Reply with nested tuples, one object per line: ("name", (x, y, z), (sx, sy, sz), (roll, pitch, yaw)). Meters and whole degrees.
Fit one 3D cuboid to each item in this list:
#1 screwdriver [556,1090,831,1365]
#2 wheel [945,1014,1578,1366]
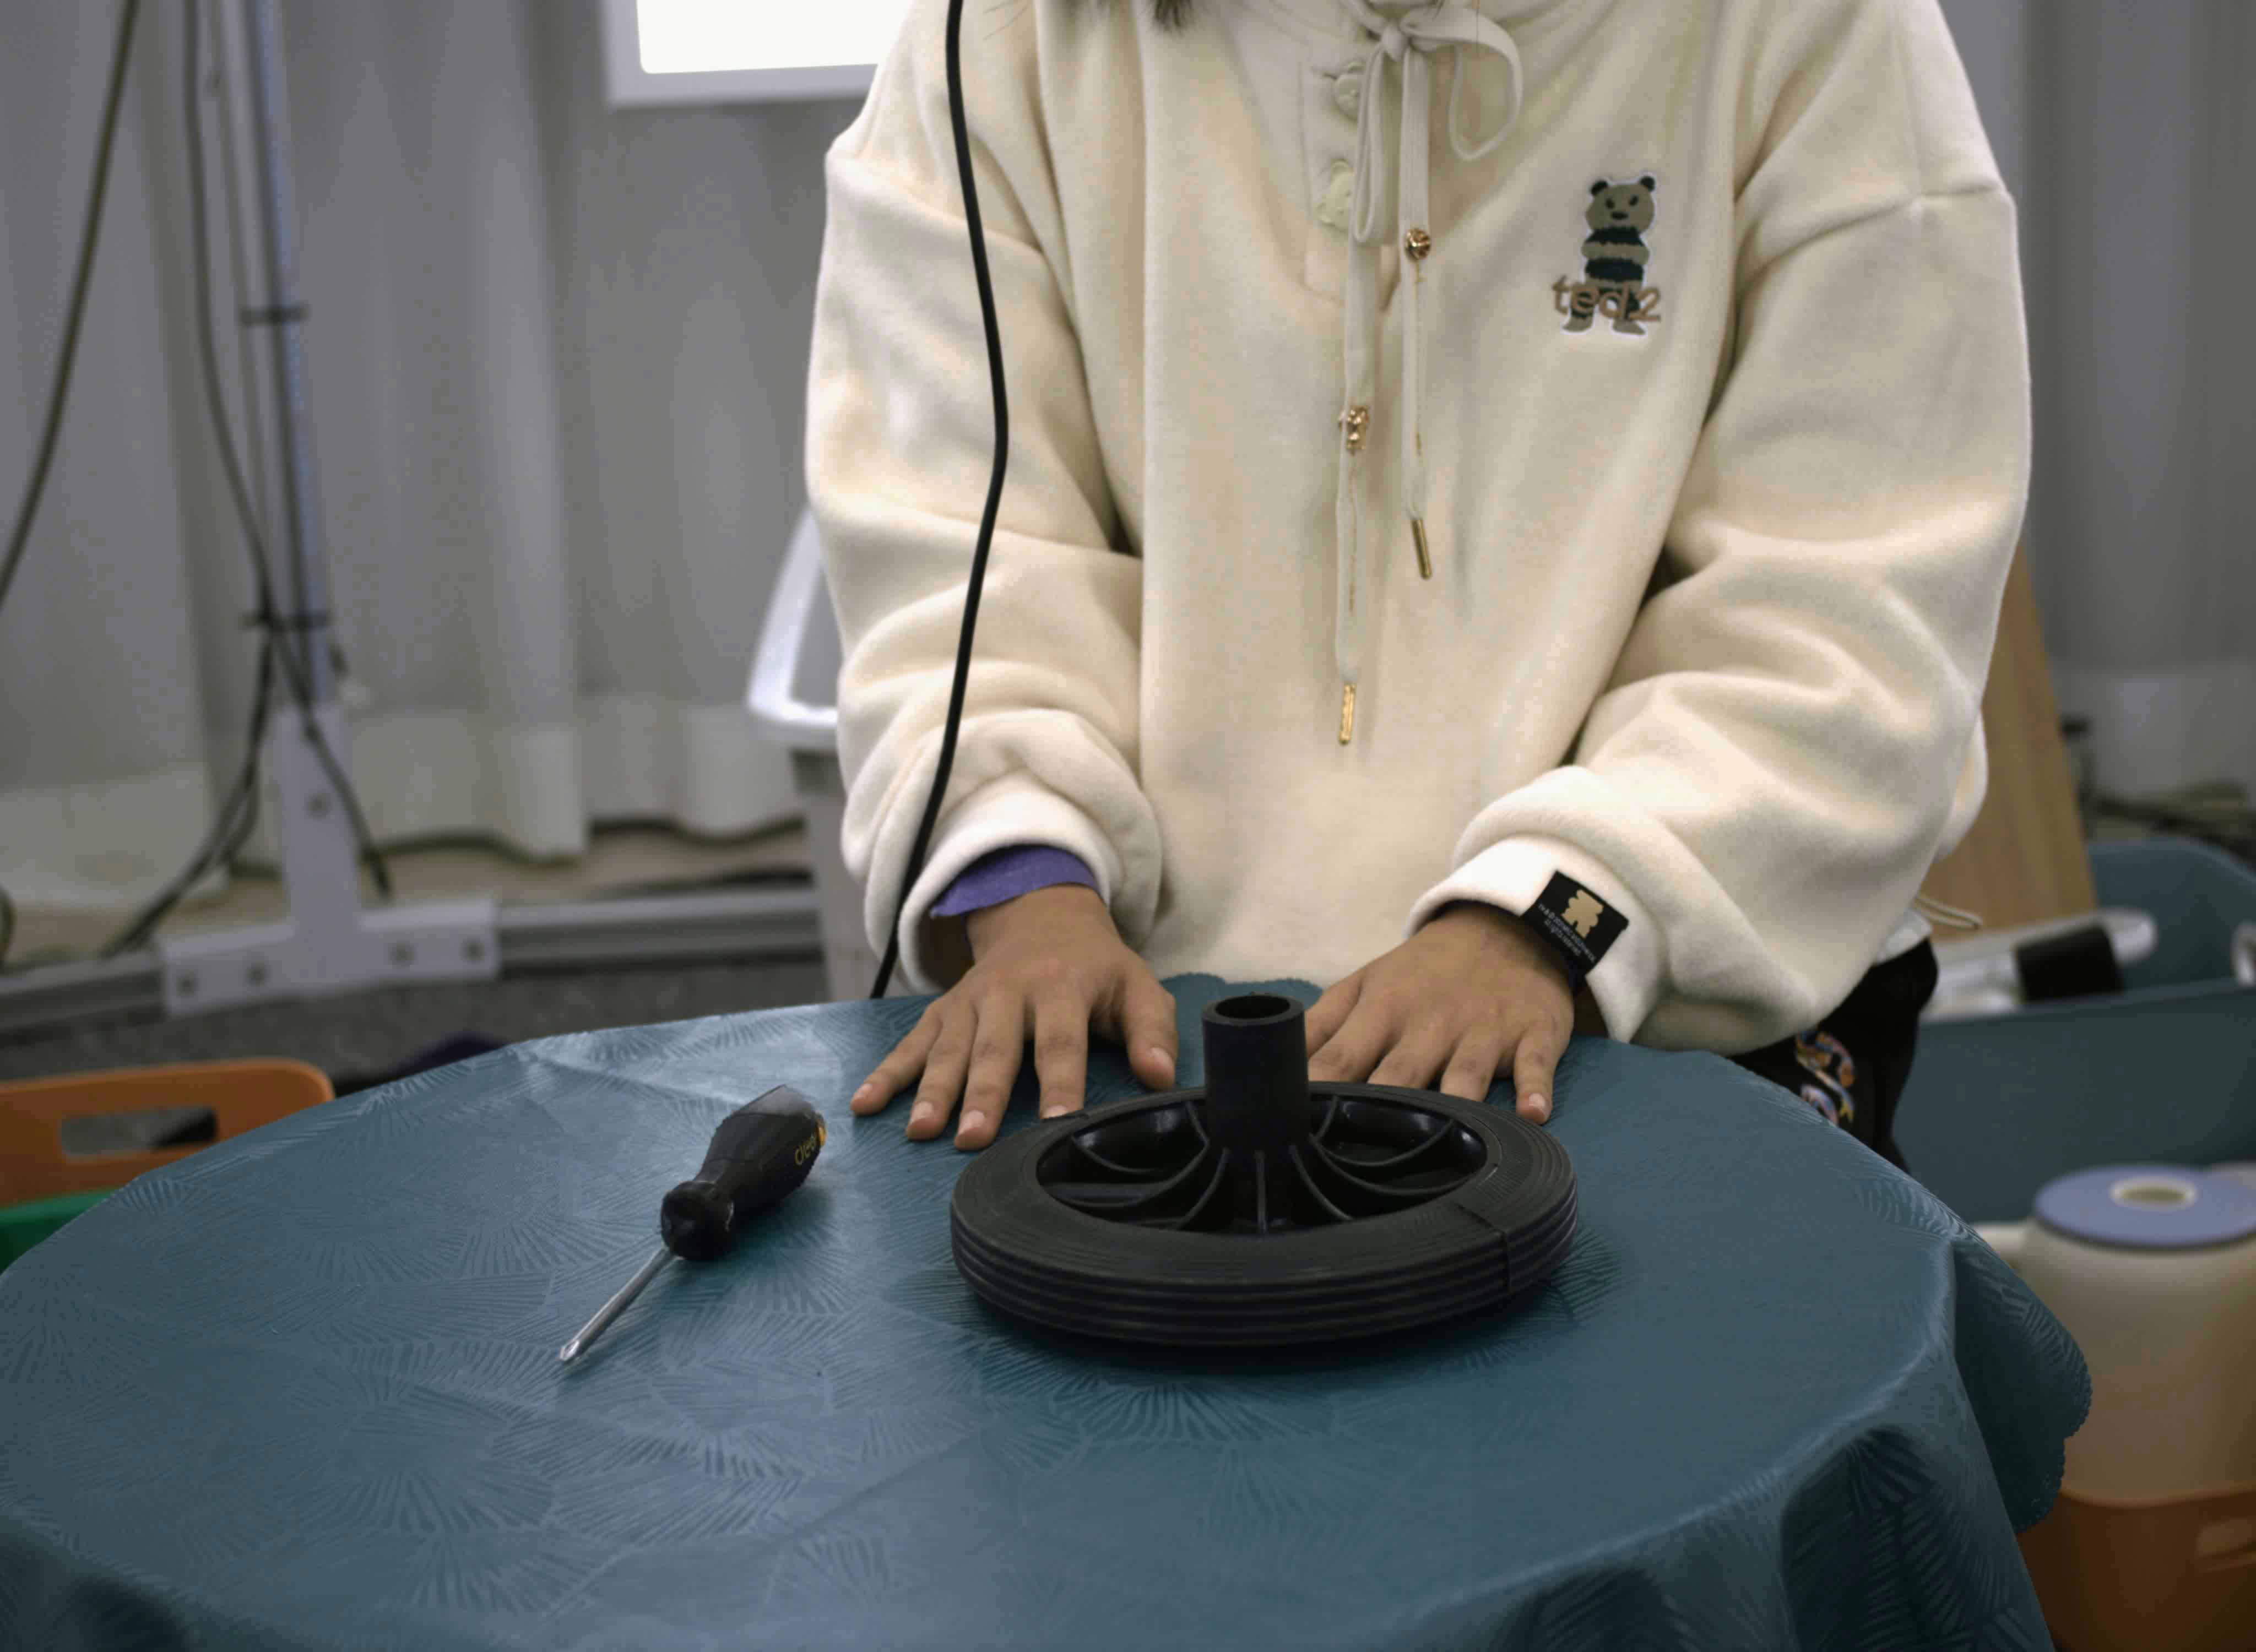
("screwdriver", (-0.131, 0.123, 1.663), (0.031, 0.031, 0.197), (1, 18, 15))
("wheel", (0.037, 0.098, 1.627), (0.189, 0.079, 0.189), (-9, 15, -10))
